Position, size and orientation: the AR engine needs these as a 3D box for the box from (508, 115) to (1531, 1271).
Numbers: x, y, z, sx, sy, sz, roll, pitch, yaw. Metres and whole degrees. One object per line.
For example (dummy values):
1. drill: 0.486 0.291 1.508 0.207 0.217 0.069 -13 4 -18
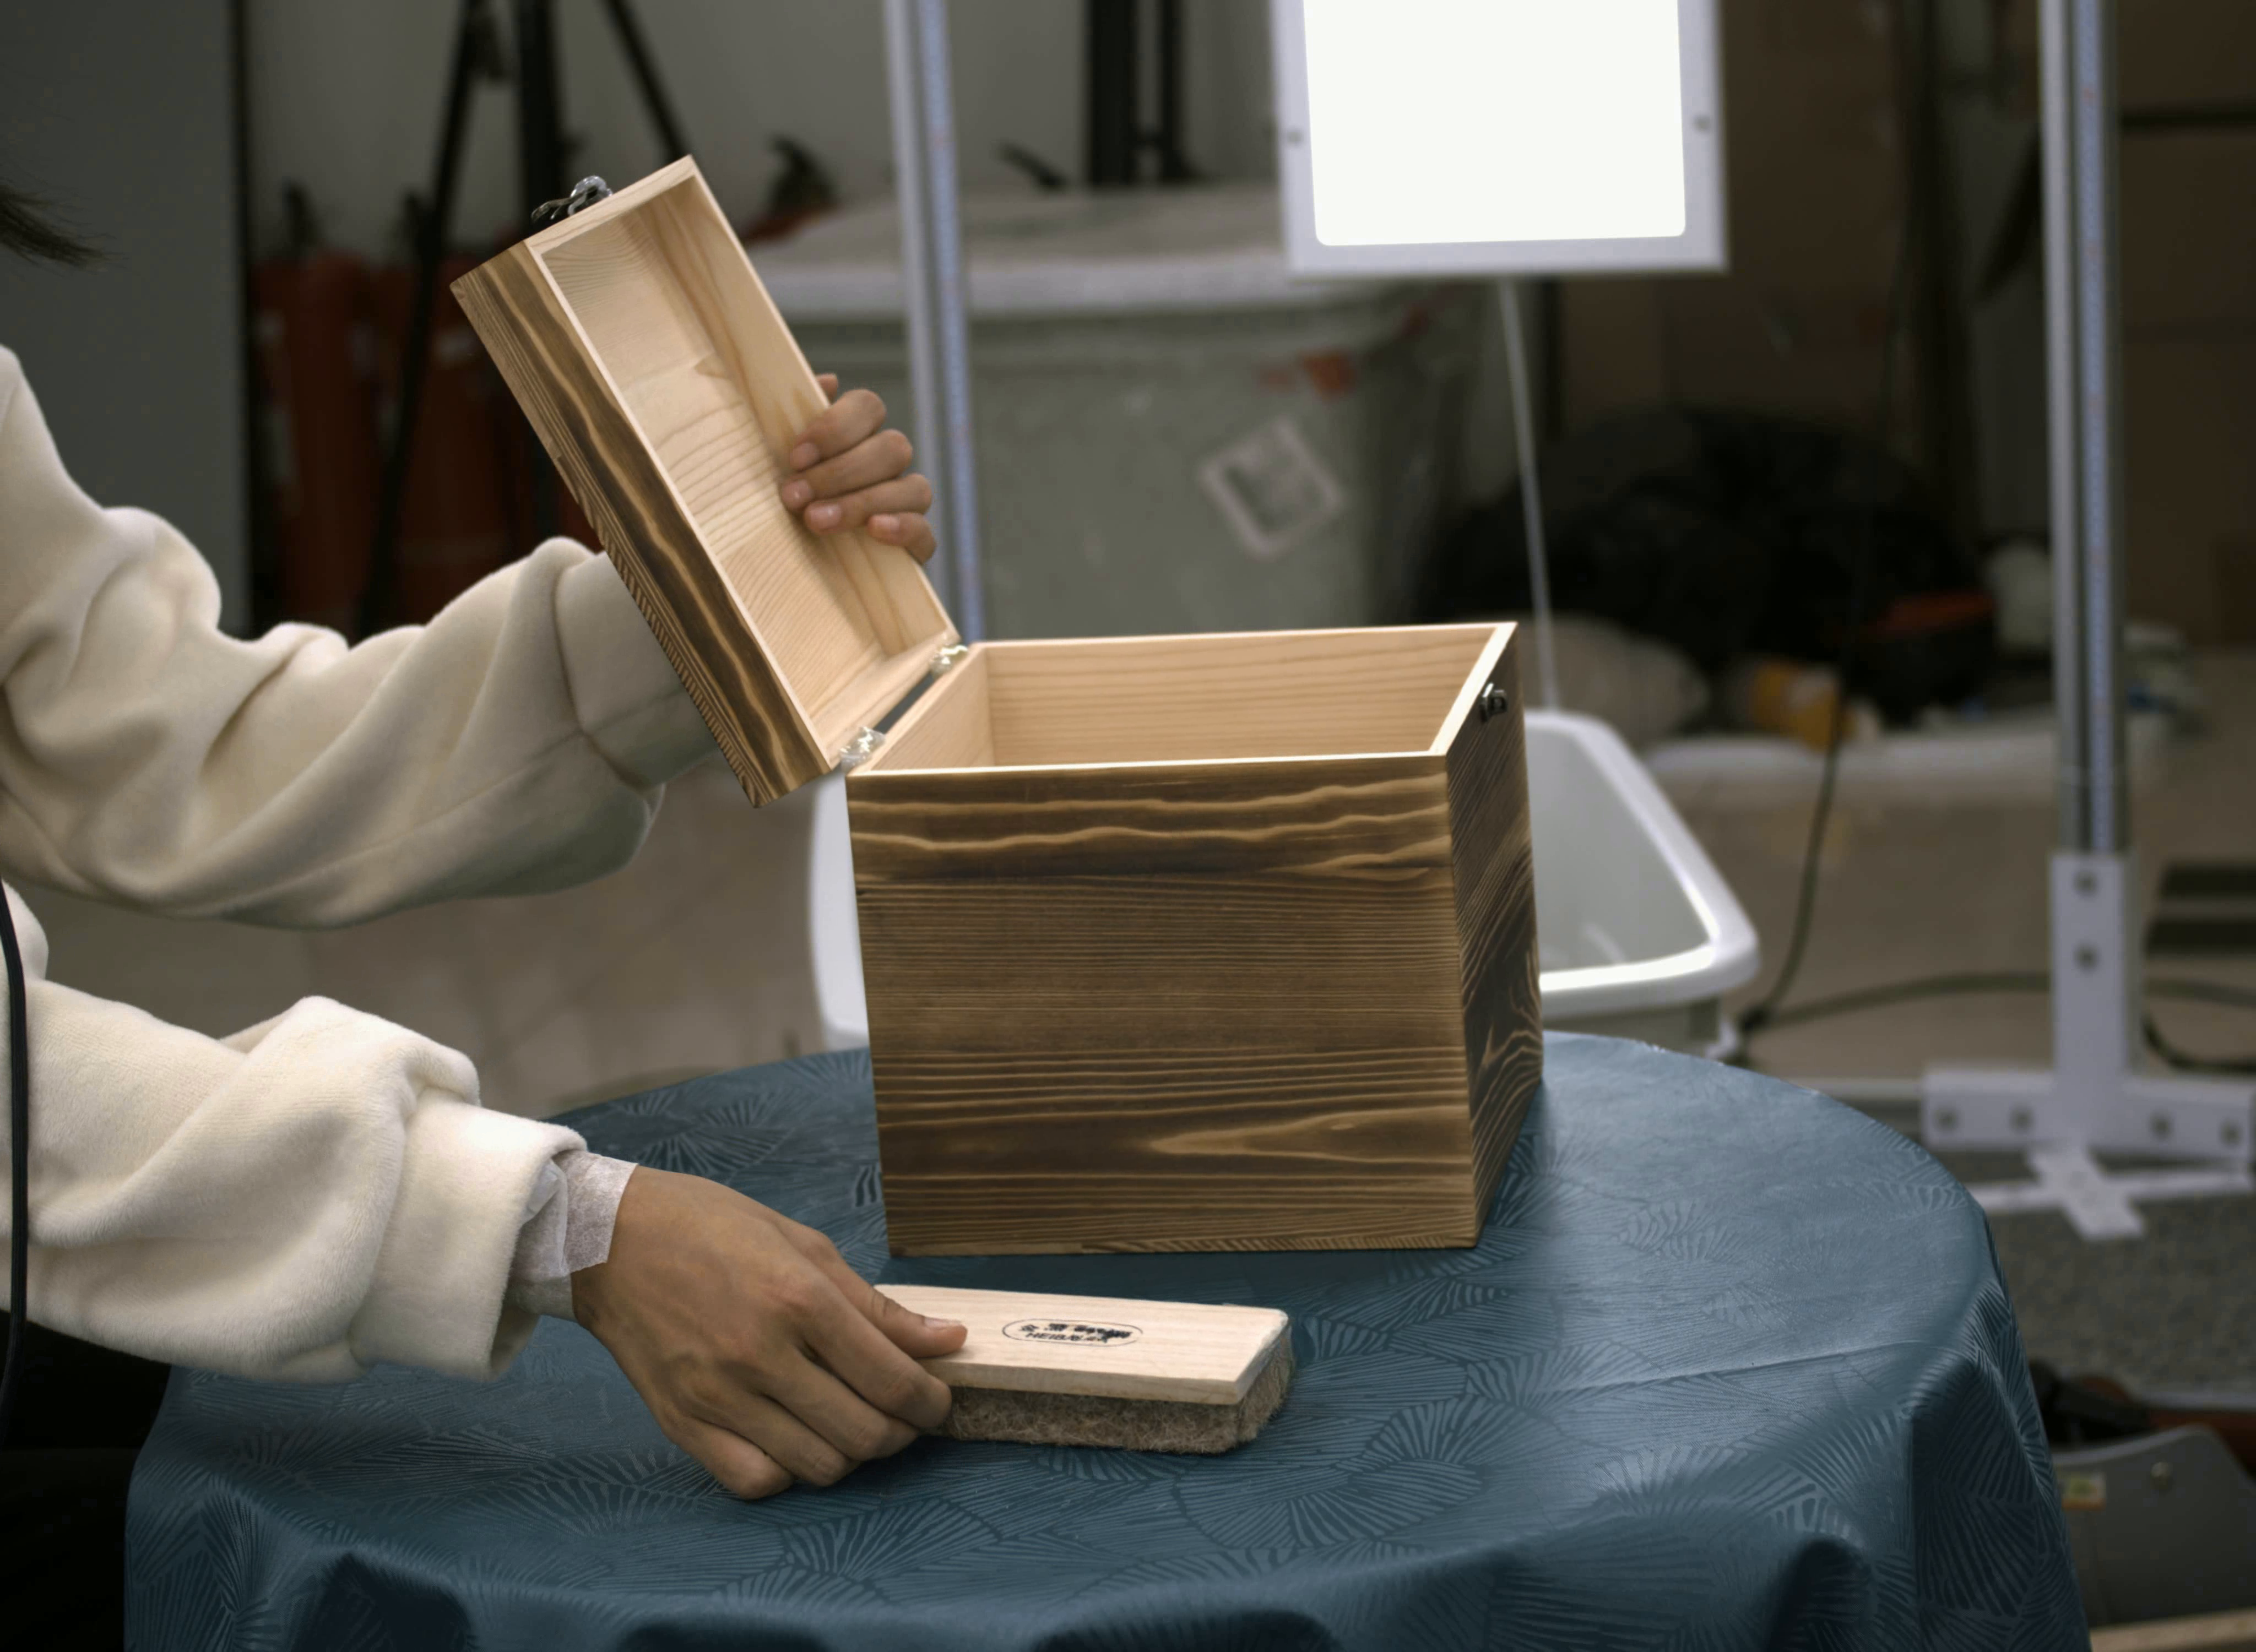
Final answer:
1. box: -0.028 -0.056 1.887 0.324 0.377 0.206 -1 15 12

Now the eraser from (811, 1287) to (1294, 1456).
1. eraser: -0.022 0.167 1.680 0.141 0.029 0.056 1 18 25
